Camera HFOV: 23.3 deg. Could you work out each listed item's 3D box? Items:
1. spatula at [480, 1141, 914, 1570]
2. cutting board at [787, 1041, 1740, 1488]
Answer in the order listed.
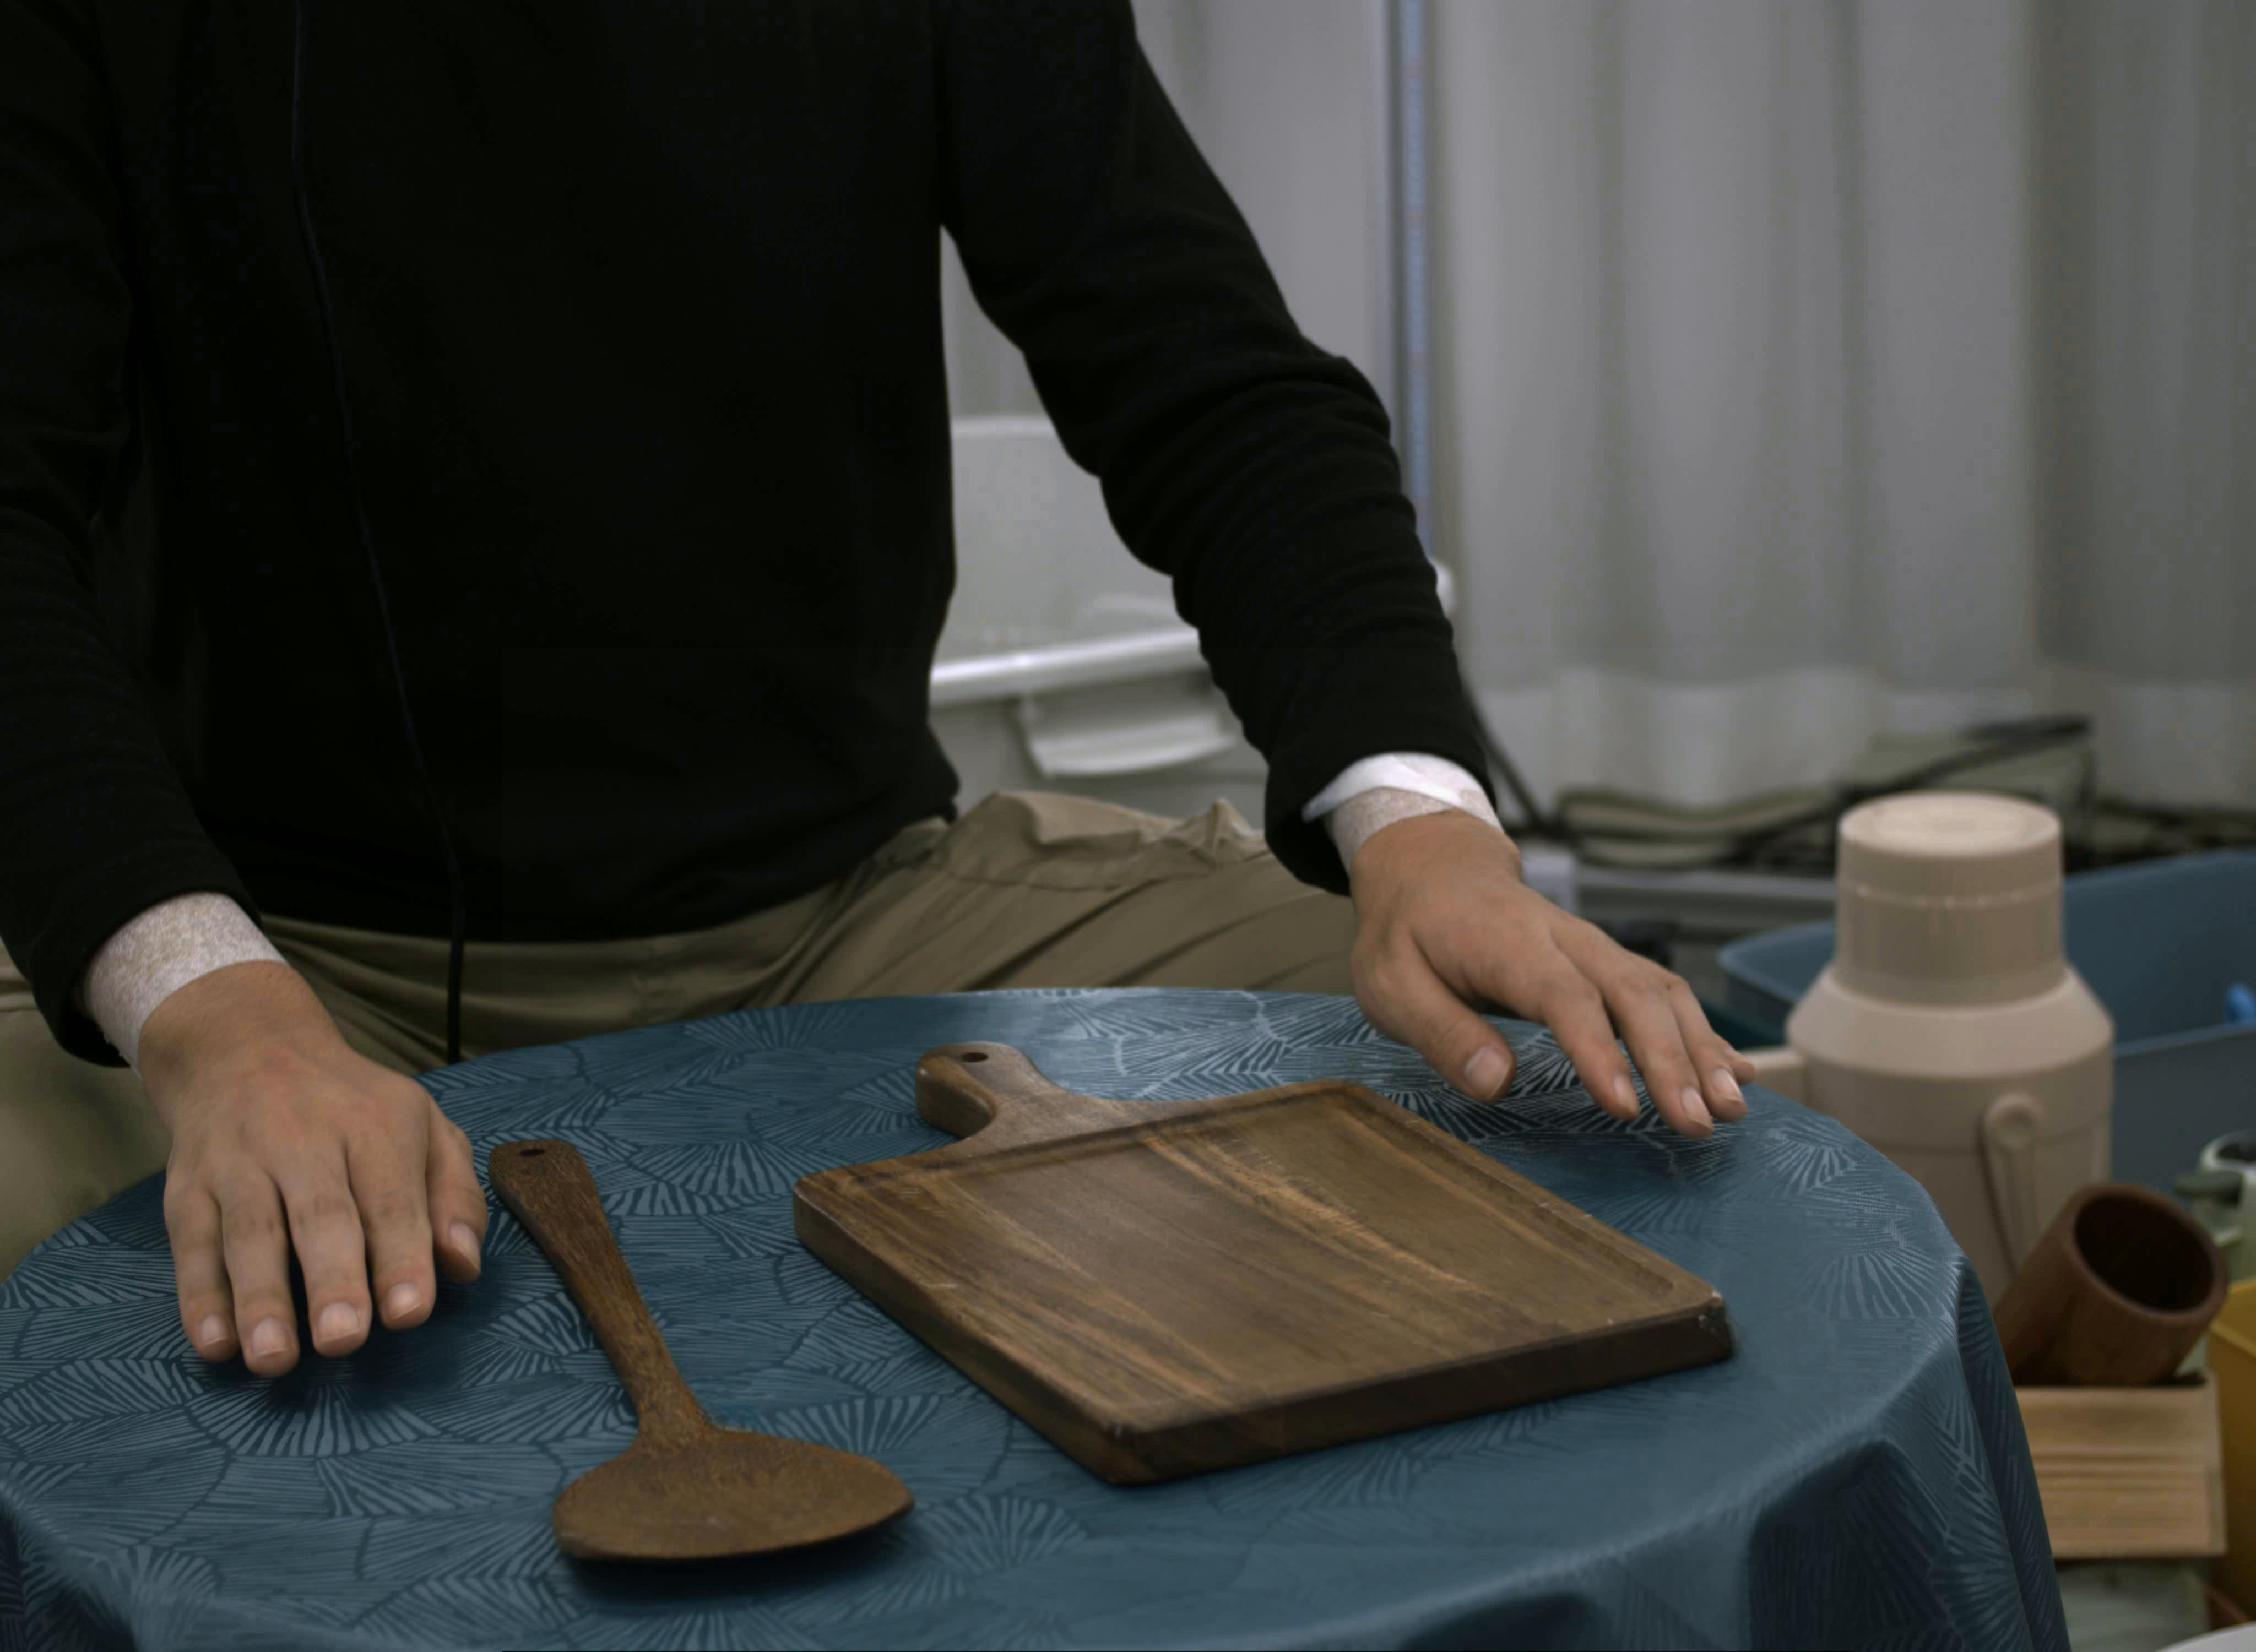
[{"bbox_3d":[-0.147,0.147,1.593,0.095,0.016,0.389,-6,15,-14],"label":"spatula"},{"bbox_3d":[0.014,0.119,1.657,0.200,0.023,0.355,-9,16,-23],"label":"cutting board"}]
